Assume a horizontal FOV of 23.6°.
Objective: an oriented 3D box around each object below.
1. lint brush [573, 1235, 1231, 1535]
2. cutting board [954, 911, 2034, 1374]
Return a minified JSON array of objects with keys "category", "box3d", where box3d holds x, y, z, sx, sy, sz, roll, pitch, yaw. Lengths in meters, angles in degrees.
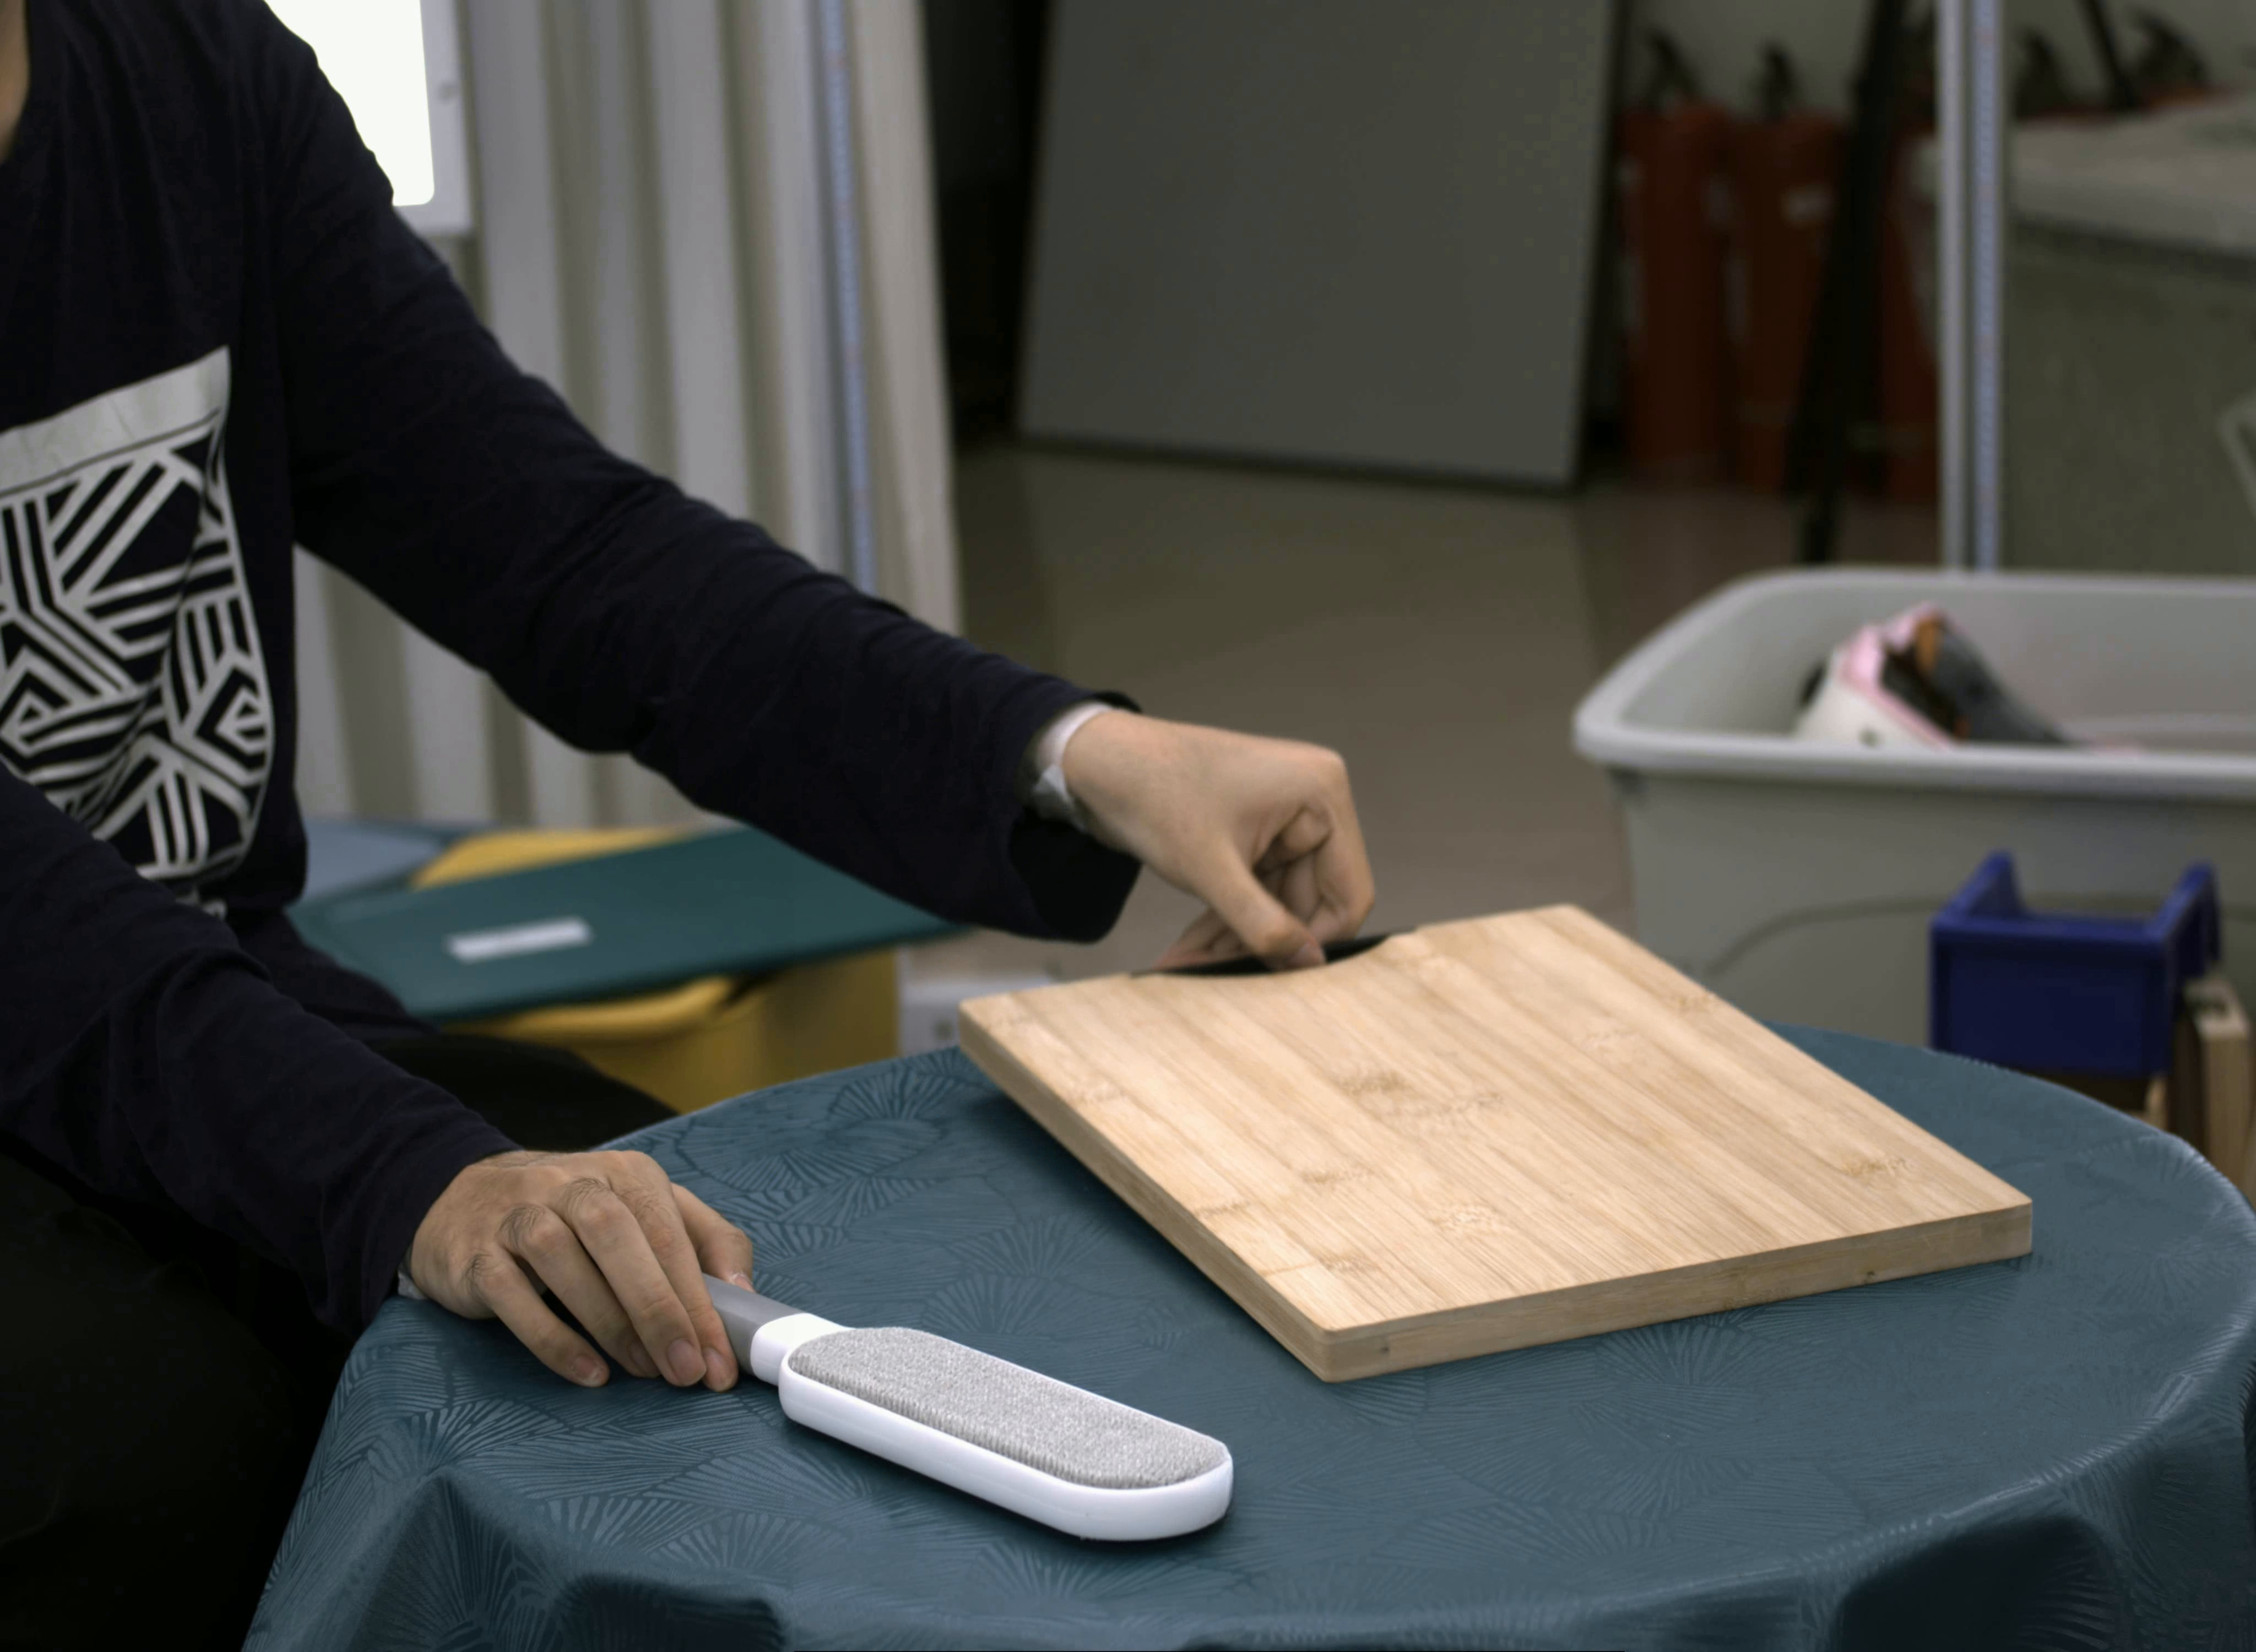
[{"category":"lint brush","box3d":[-0.074,0.159,1.579,0.059,0.021,0.312,-18,19,-34]},{"category":"cutting board","box3d":[0.109,0.098,1.771,0.245,0.024,0.352,-9,17,-19]}]
